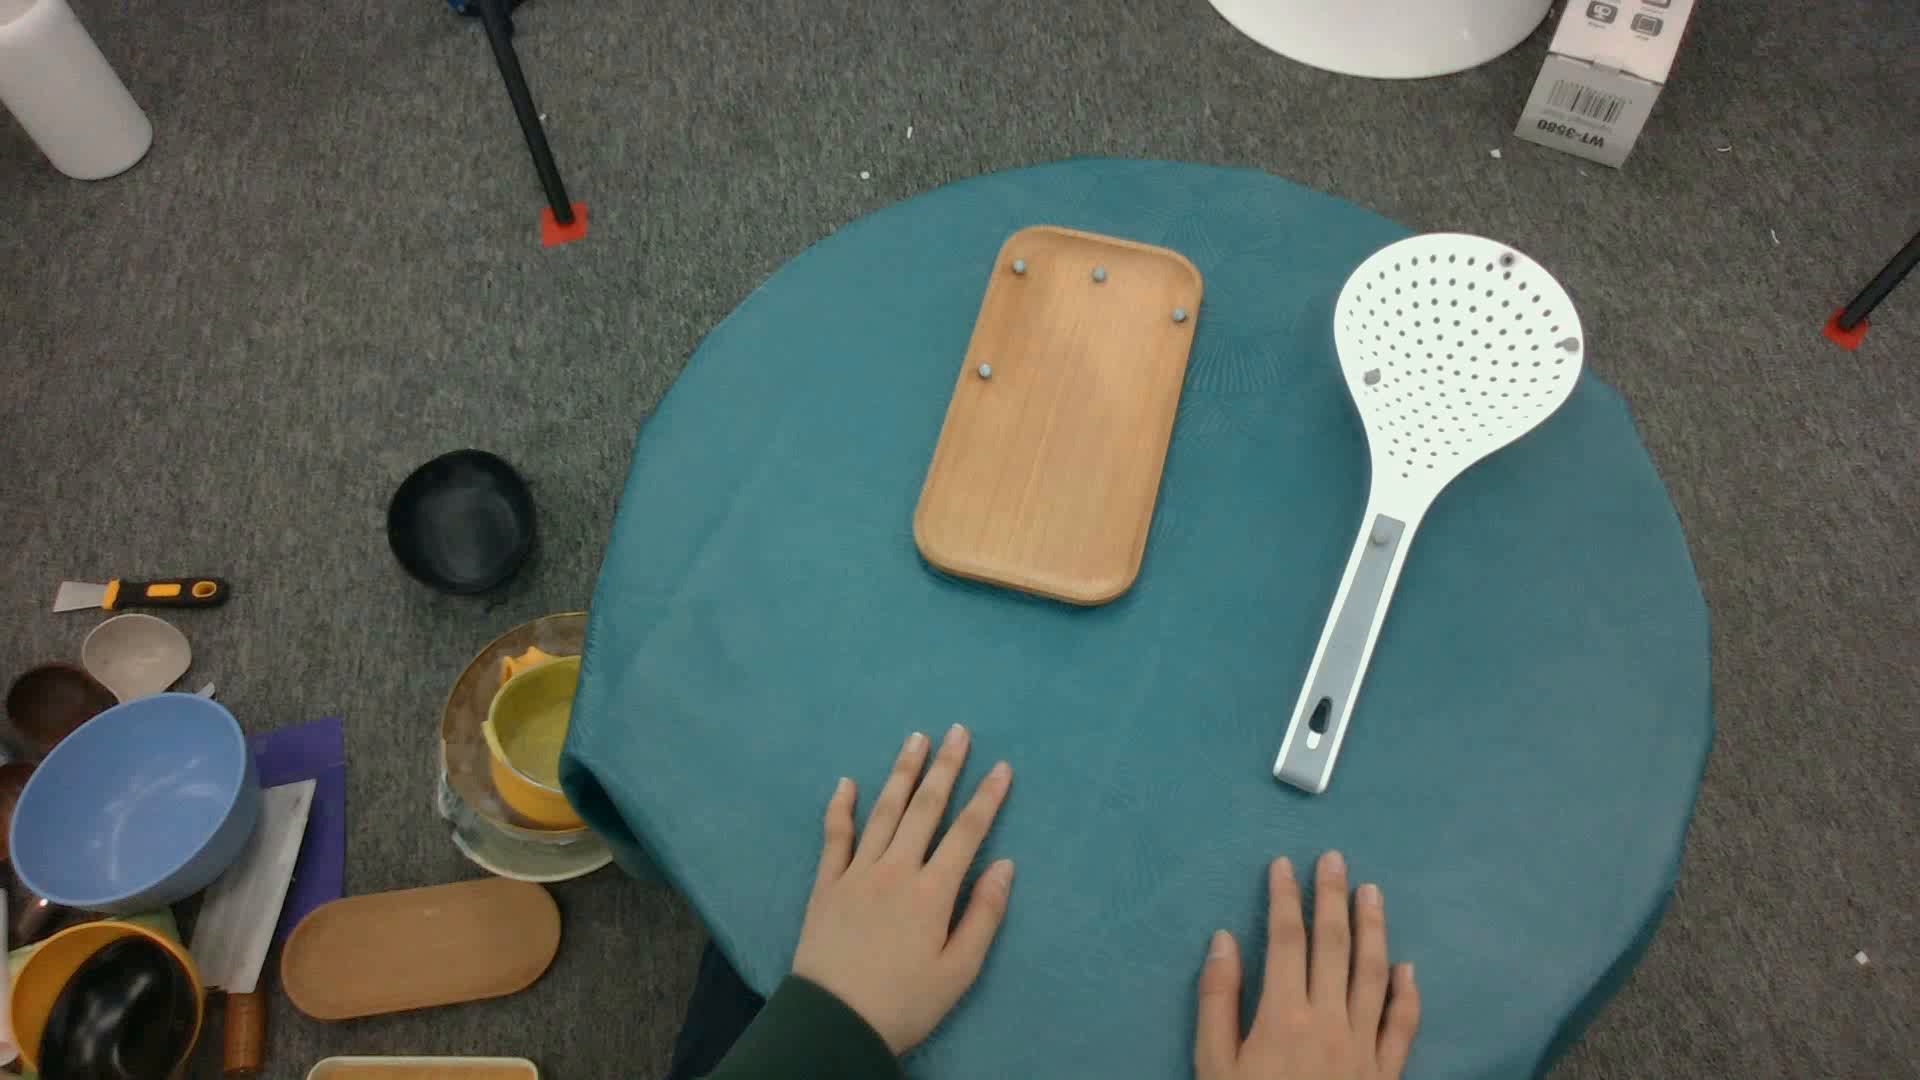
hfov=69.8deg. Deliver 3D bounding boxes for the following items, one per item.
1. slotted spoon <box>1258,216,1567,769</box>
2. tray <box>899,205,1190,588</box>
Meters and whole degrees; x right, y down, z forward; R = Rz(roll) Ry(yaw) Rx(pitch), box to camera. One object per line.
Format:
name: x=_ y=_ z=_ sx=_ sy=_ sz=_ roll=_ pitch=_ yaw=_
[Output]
slotted spoon: x=0.233 y=-0.036 z=0.754 sx=0.136 sy=0.045 sz=0.351 roll=21 pitch=64 yaw=13
tray: x=0.053 y=-0.089 z=0.797 sx=0.130 sy=0.023 sz=0.252 roll=12 pitch=63 yaw=8
